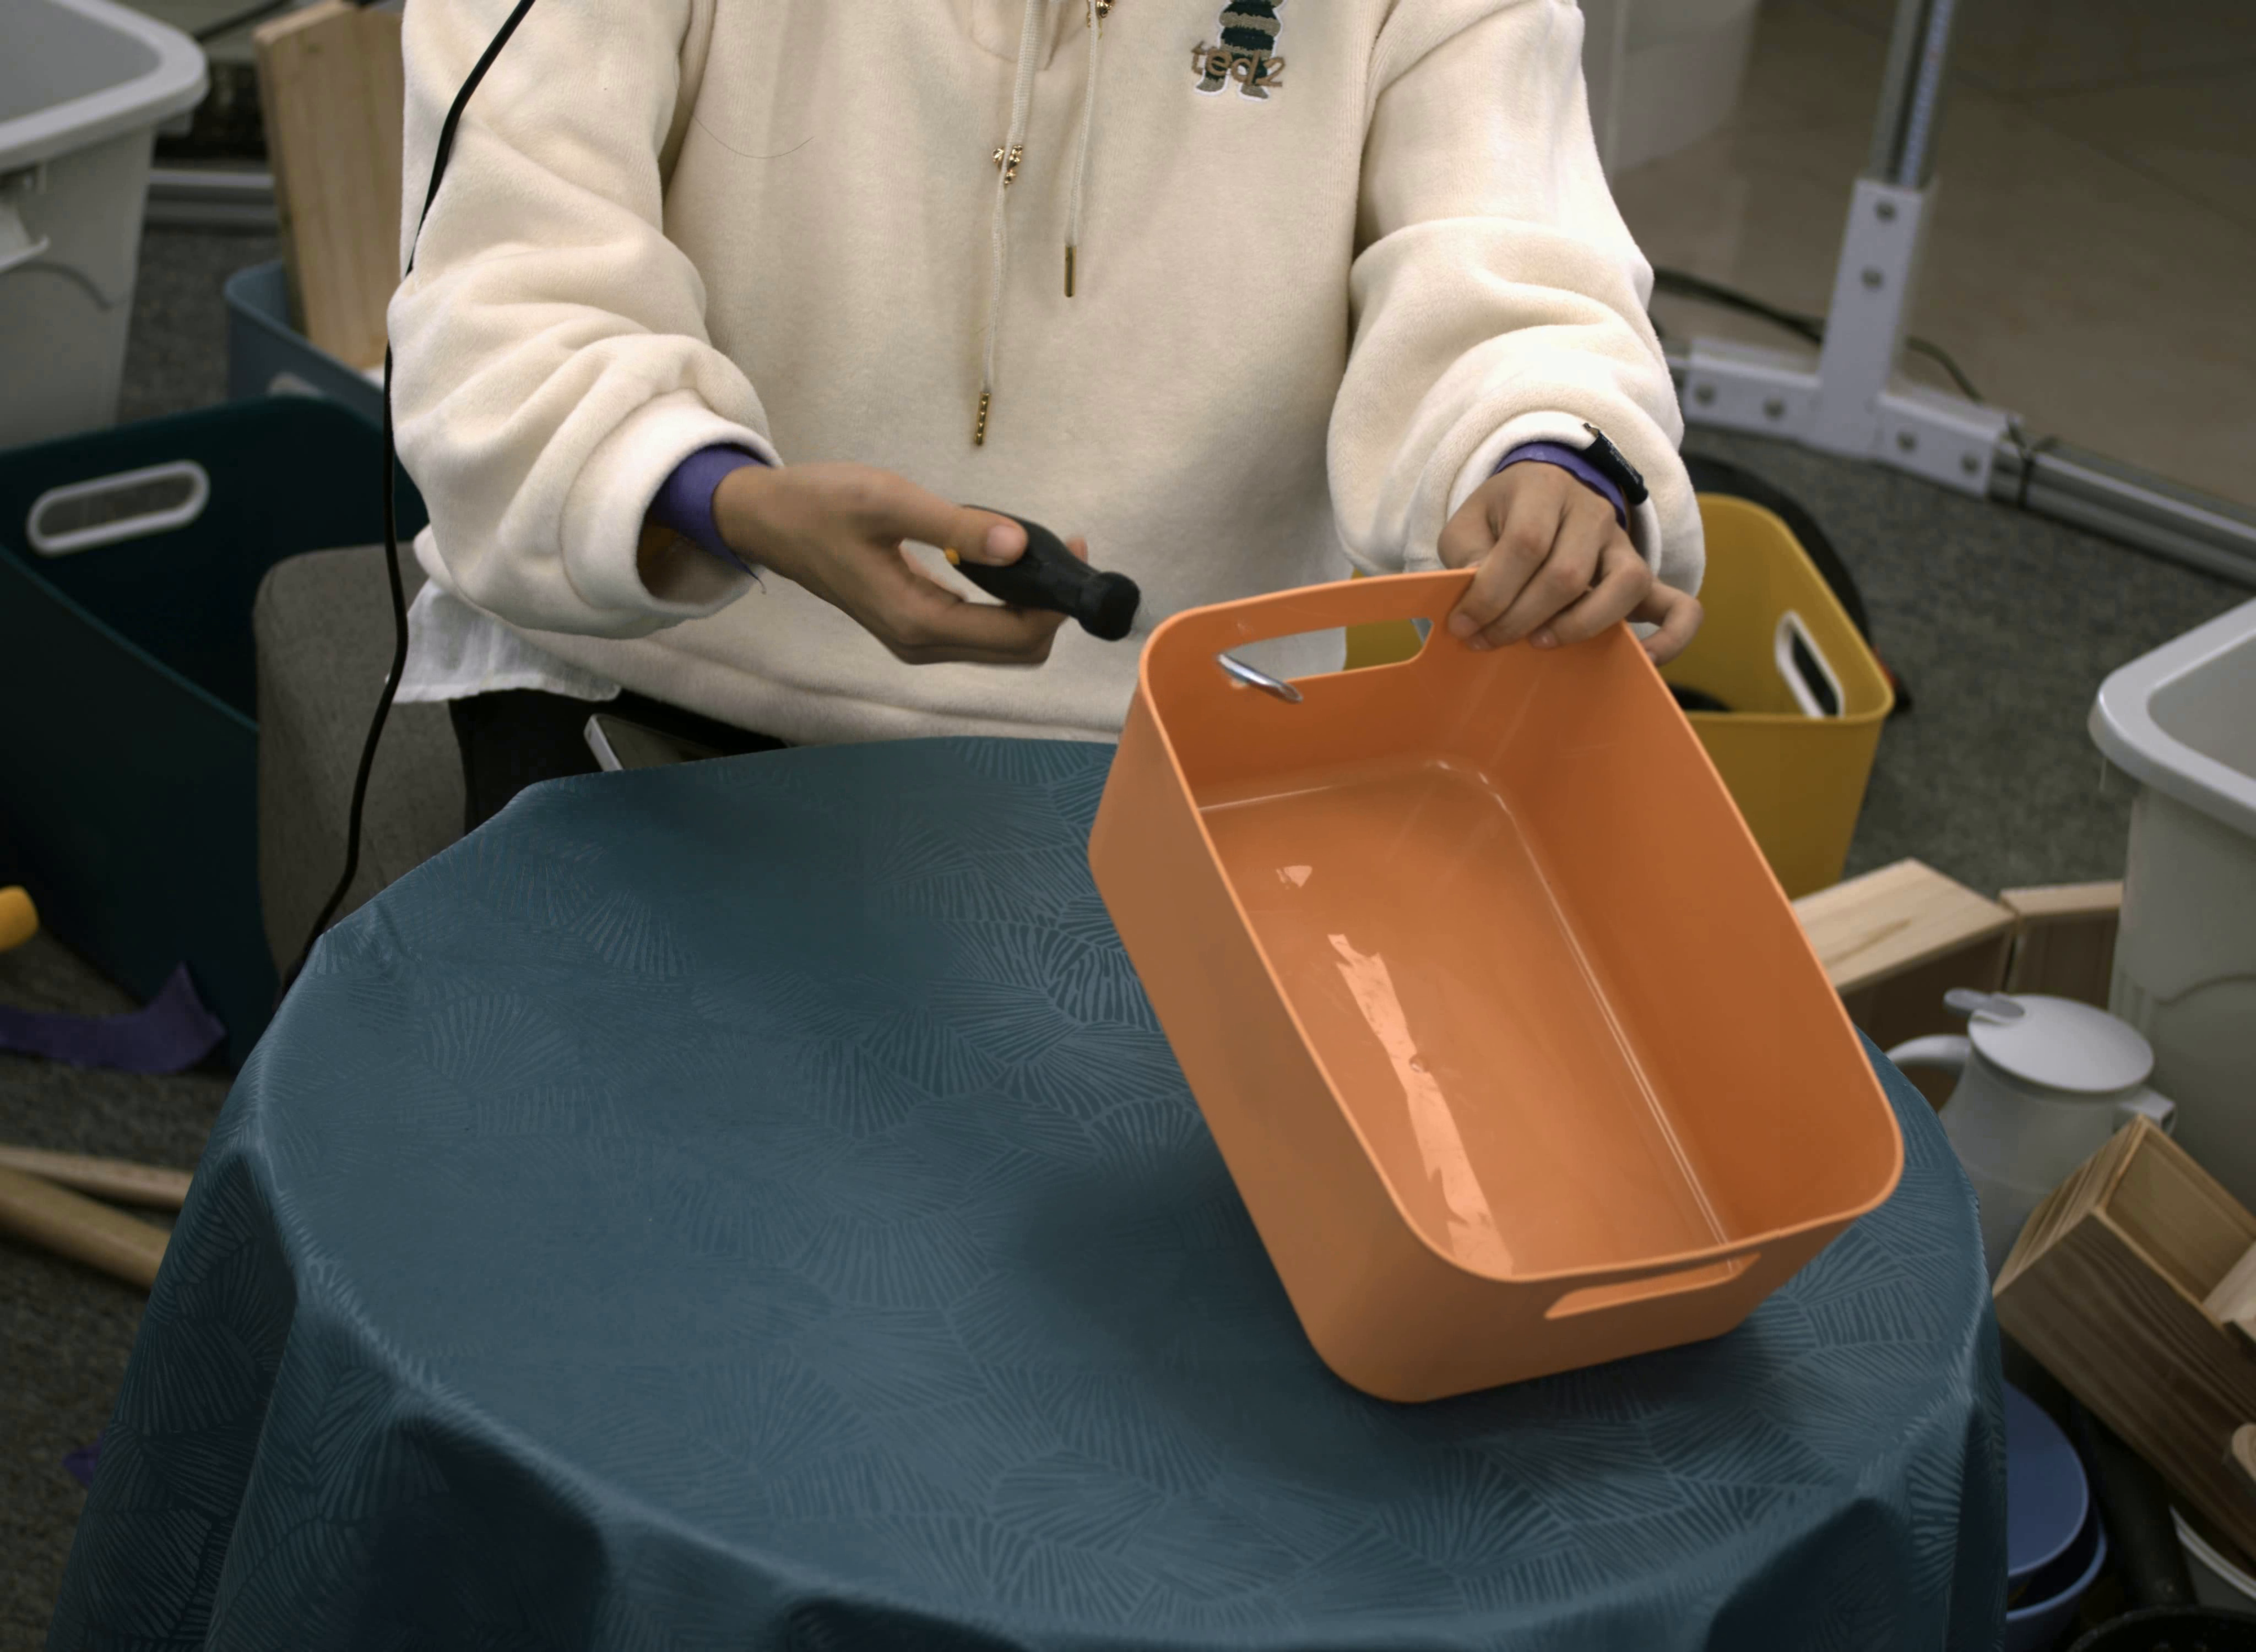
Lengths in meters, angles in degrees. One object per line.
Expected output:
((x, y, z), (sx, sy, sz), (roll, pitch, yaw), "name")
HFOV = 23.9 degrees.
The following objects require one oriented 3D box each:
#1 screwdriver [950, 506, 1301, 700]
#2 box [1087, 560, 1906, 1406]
((0.003, -0.076, 1.851), (0.031, 0.031, 0.198), (-15, 27, -36), "screwdriver")
((0.113, 0.053, 1.752), (0.198, 0.102, 0.275), (-10, 58, -27), "box")
